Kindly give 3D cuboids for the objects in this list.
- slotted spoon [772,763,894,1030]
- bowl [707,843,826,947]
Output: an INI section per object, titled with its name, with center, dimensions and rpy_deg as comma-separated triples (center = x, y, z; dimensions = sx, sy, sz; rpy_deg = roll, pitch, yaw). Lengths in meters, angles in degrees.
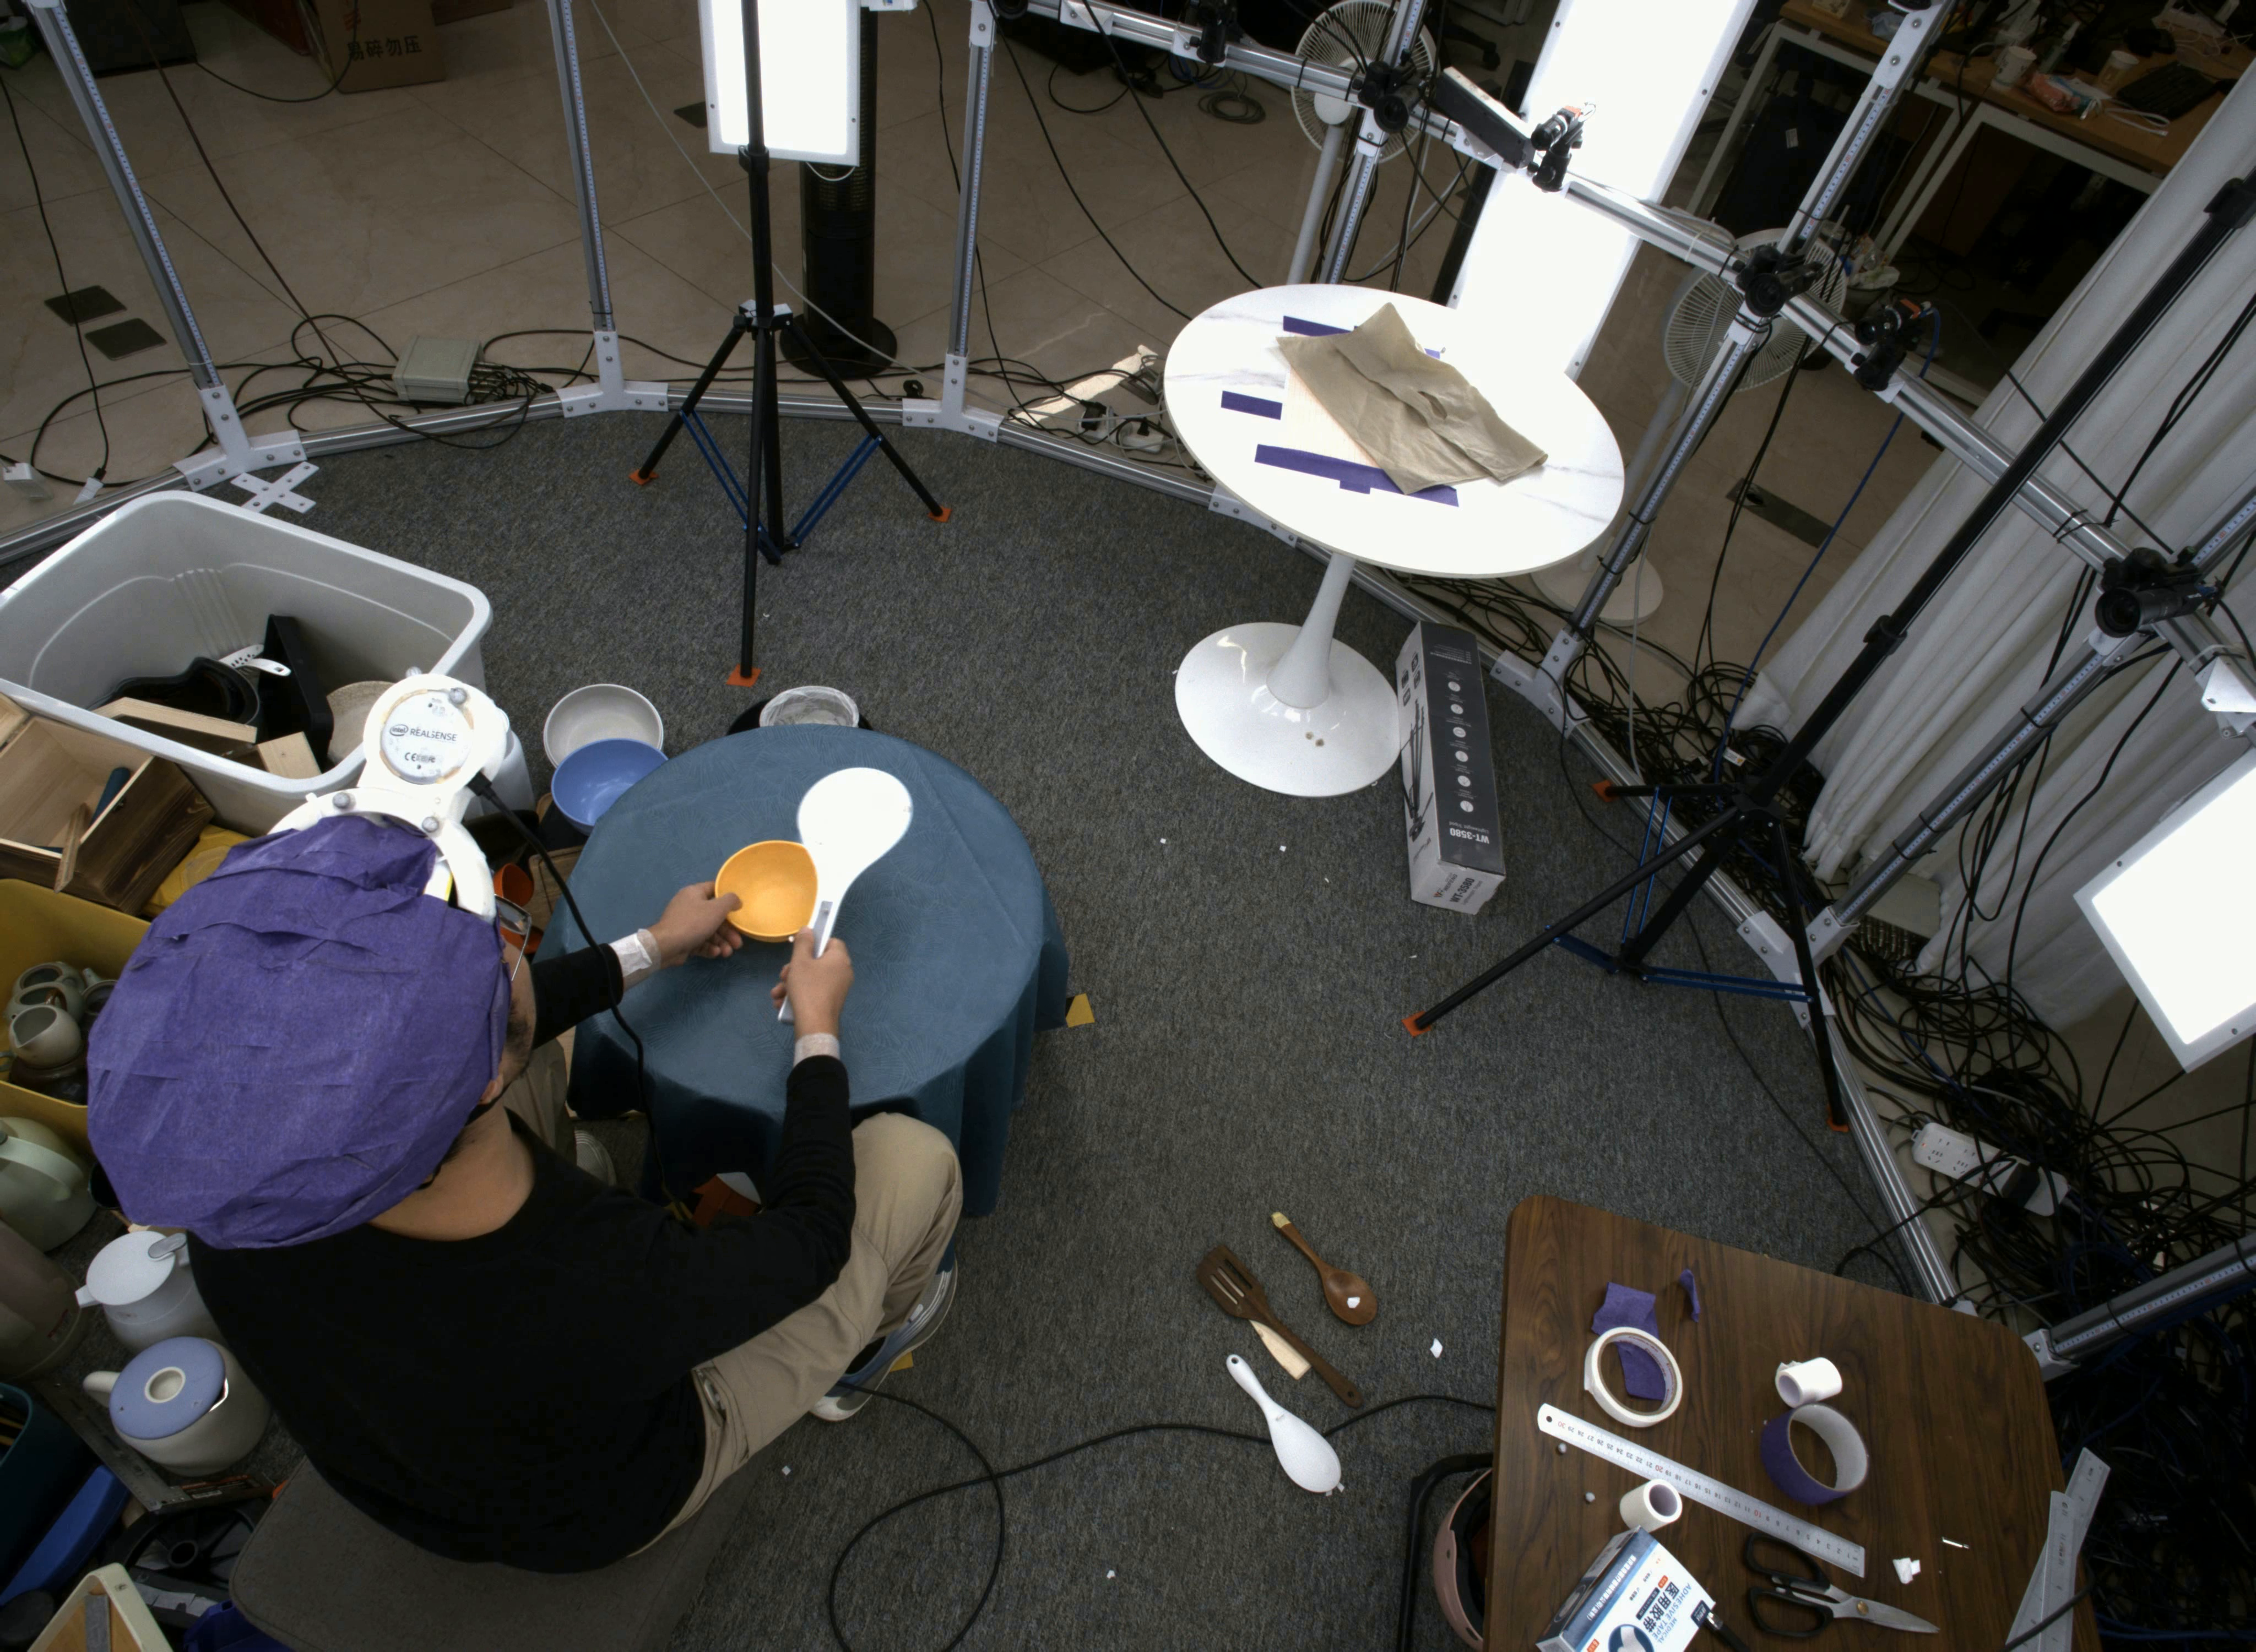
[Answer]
[slotted spoon]
center = -0.361, 0.074, 1.520
dimensions = 0.134, 0.047, 0.344
rpy_deg = 5, 54, 4
[bowl]
center = -0.446, 0.095, 1.610
dimensions = 0.144, 0.061, 0.143
rpy_deg = 6, 54, -6
